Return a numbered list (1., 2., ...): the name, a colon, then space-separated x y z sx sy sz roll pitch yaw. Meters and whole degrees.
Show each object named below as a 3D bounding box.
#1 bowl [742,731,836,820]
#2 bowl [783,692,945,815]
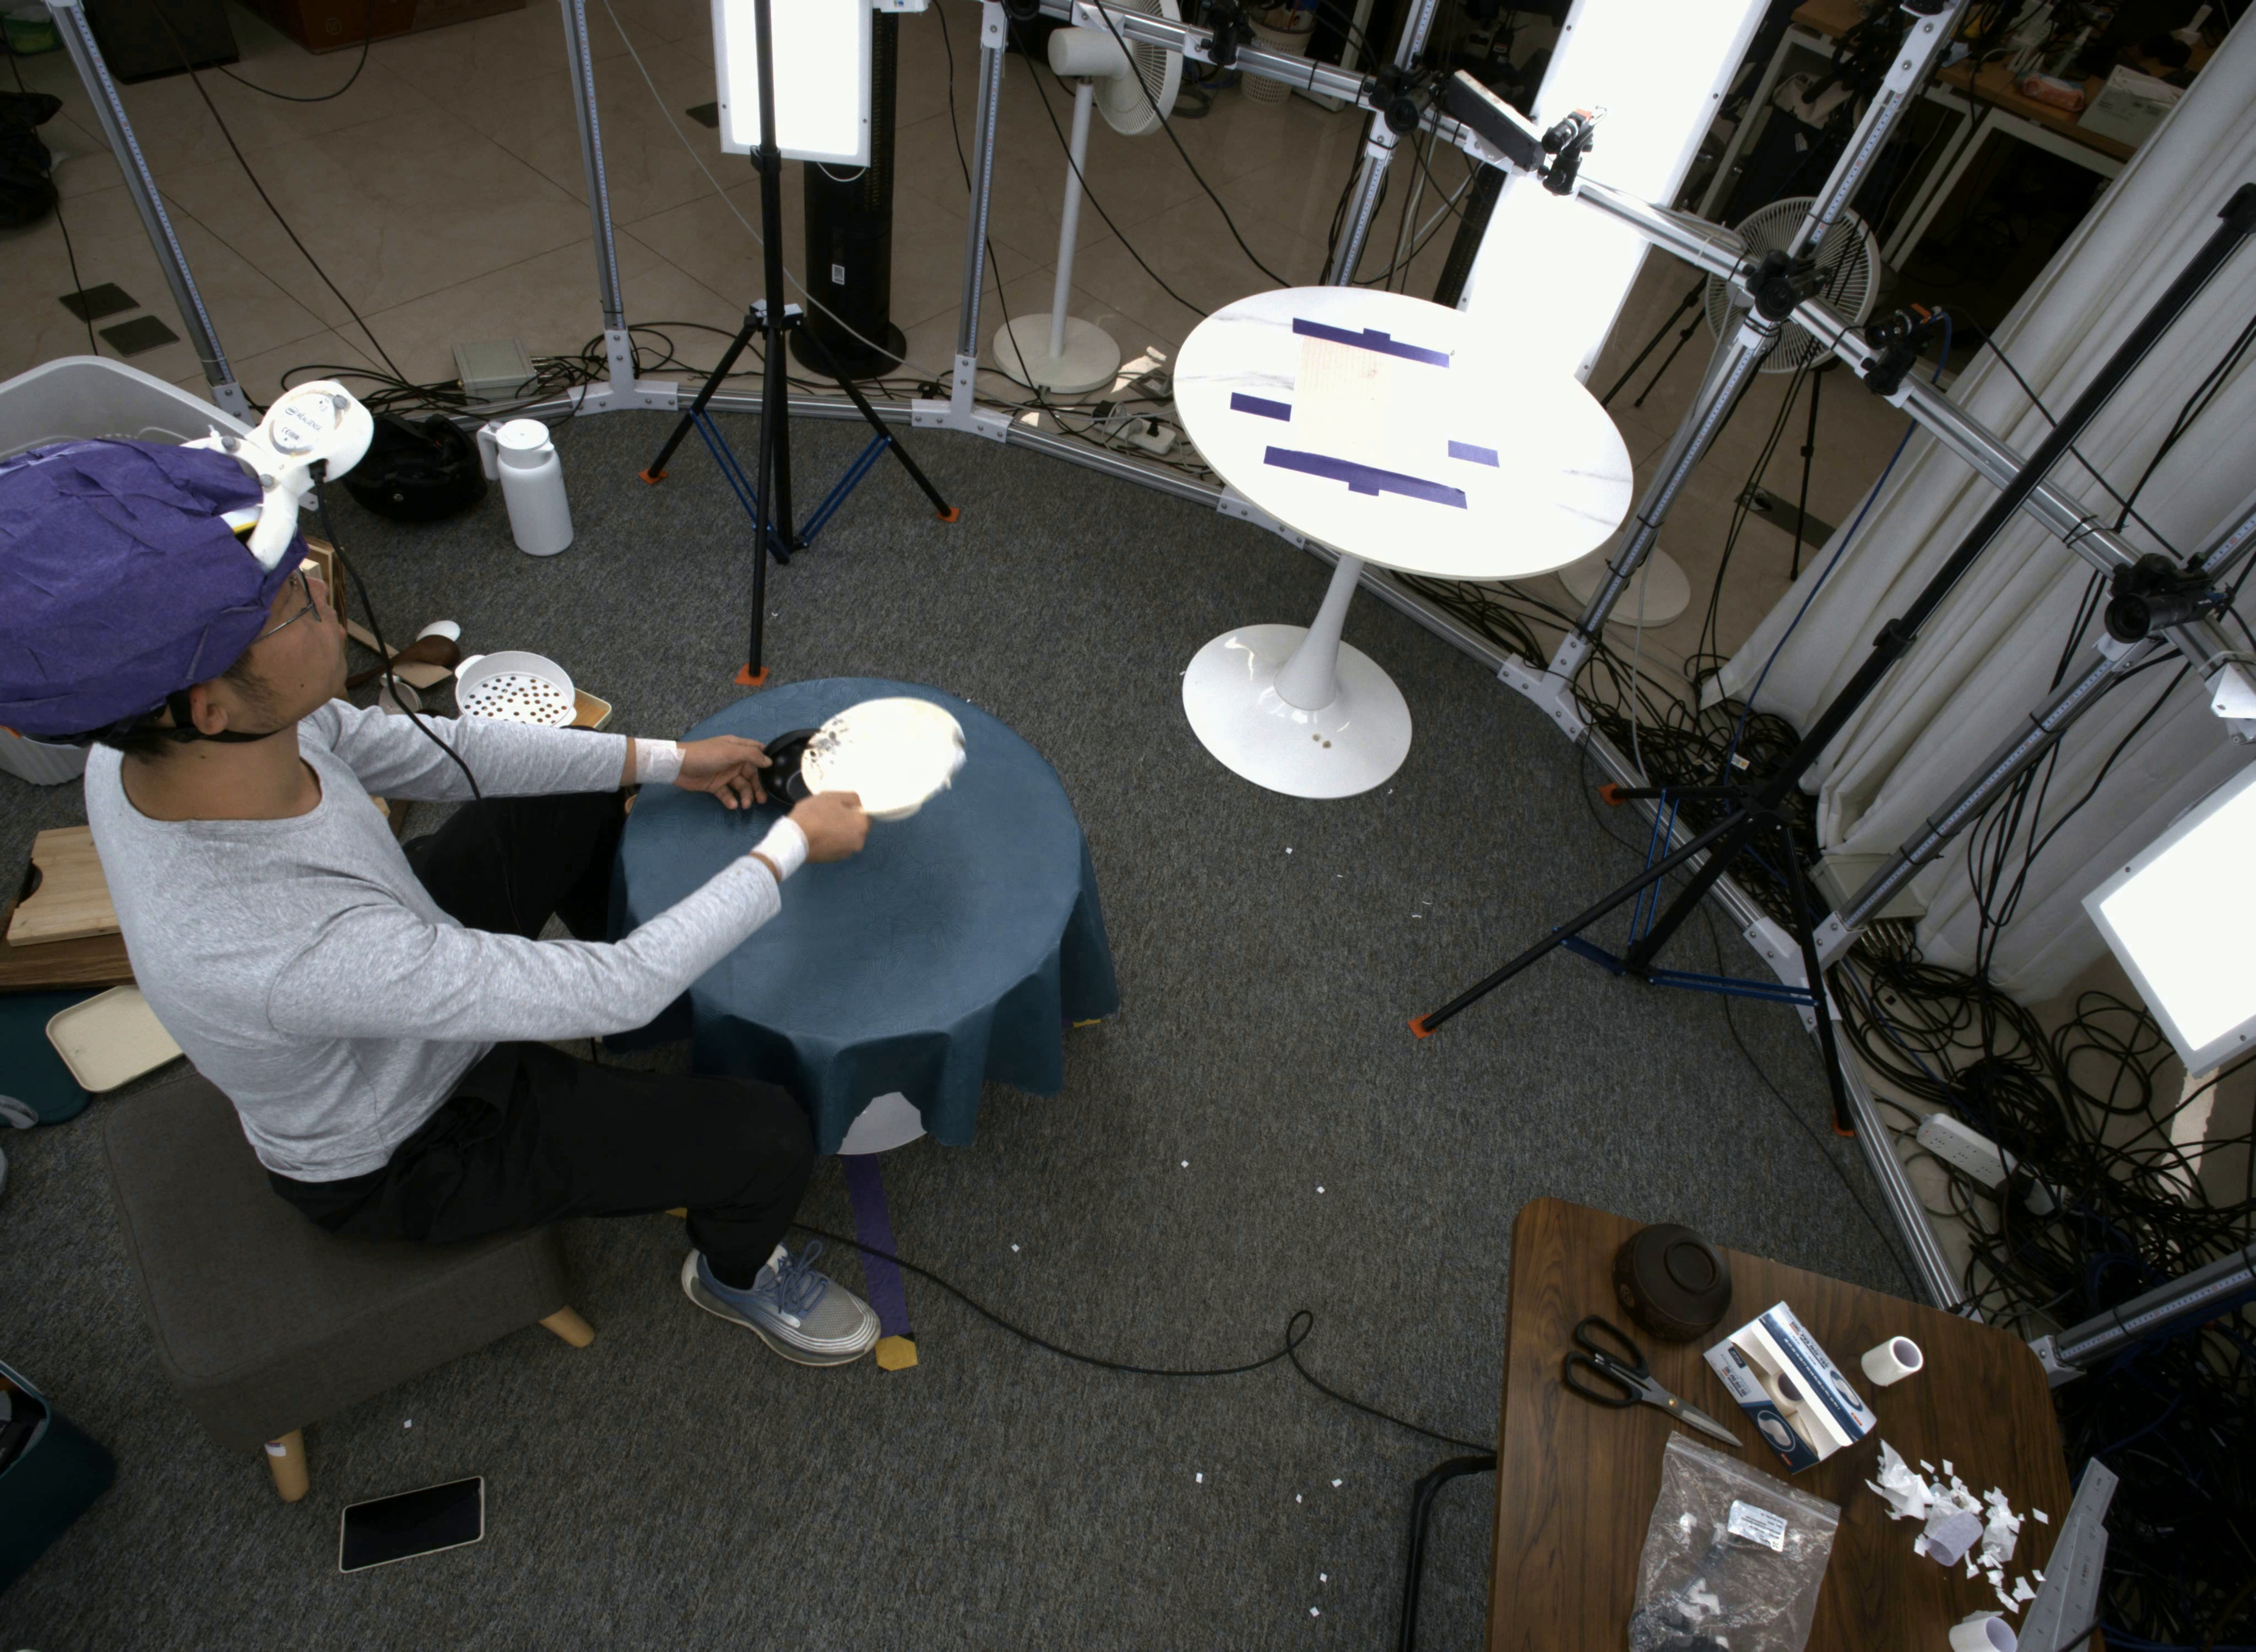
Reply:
1. bowl: -0.446 -0.060 1.746 0.139 0.051 0.137 5 54 -5
2. bowl: -0.319 -0.073 1.619 0.201 0.081 0.200 -3 46 5
